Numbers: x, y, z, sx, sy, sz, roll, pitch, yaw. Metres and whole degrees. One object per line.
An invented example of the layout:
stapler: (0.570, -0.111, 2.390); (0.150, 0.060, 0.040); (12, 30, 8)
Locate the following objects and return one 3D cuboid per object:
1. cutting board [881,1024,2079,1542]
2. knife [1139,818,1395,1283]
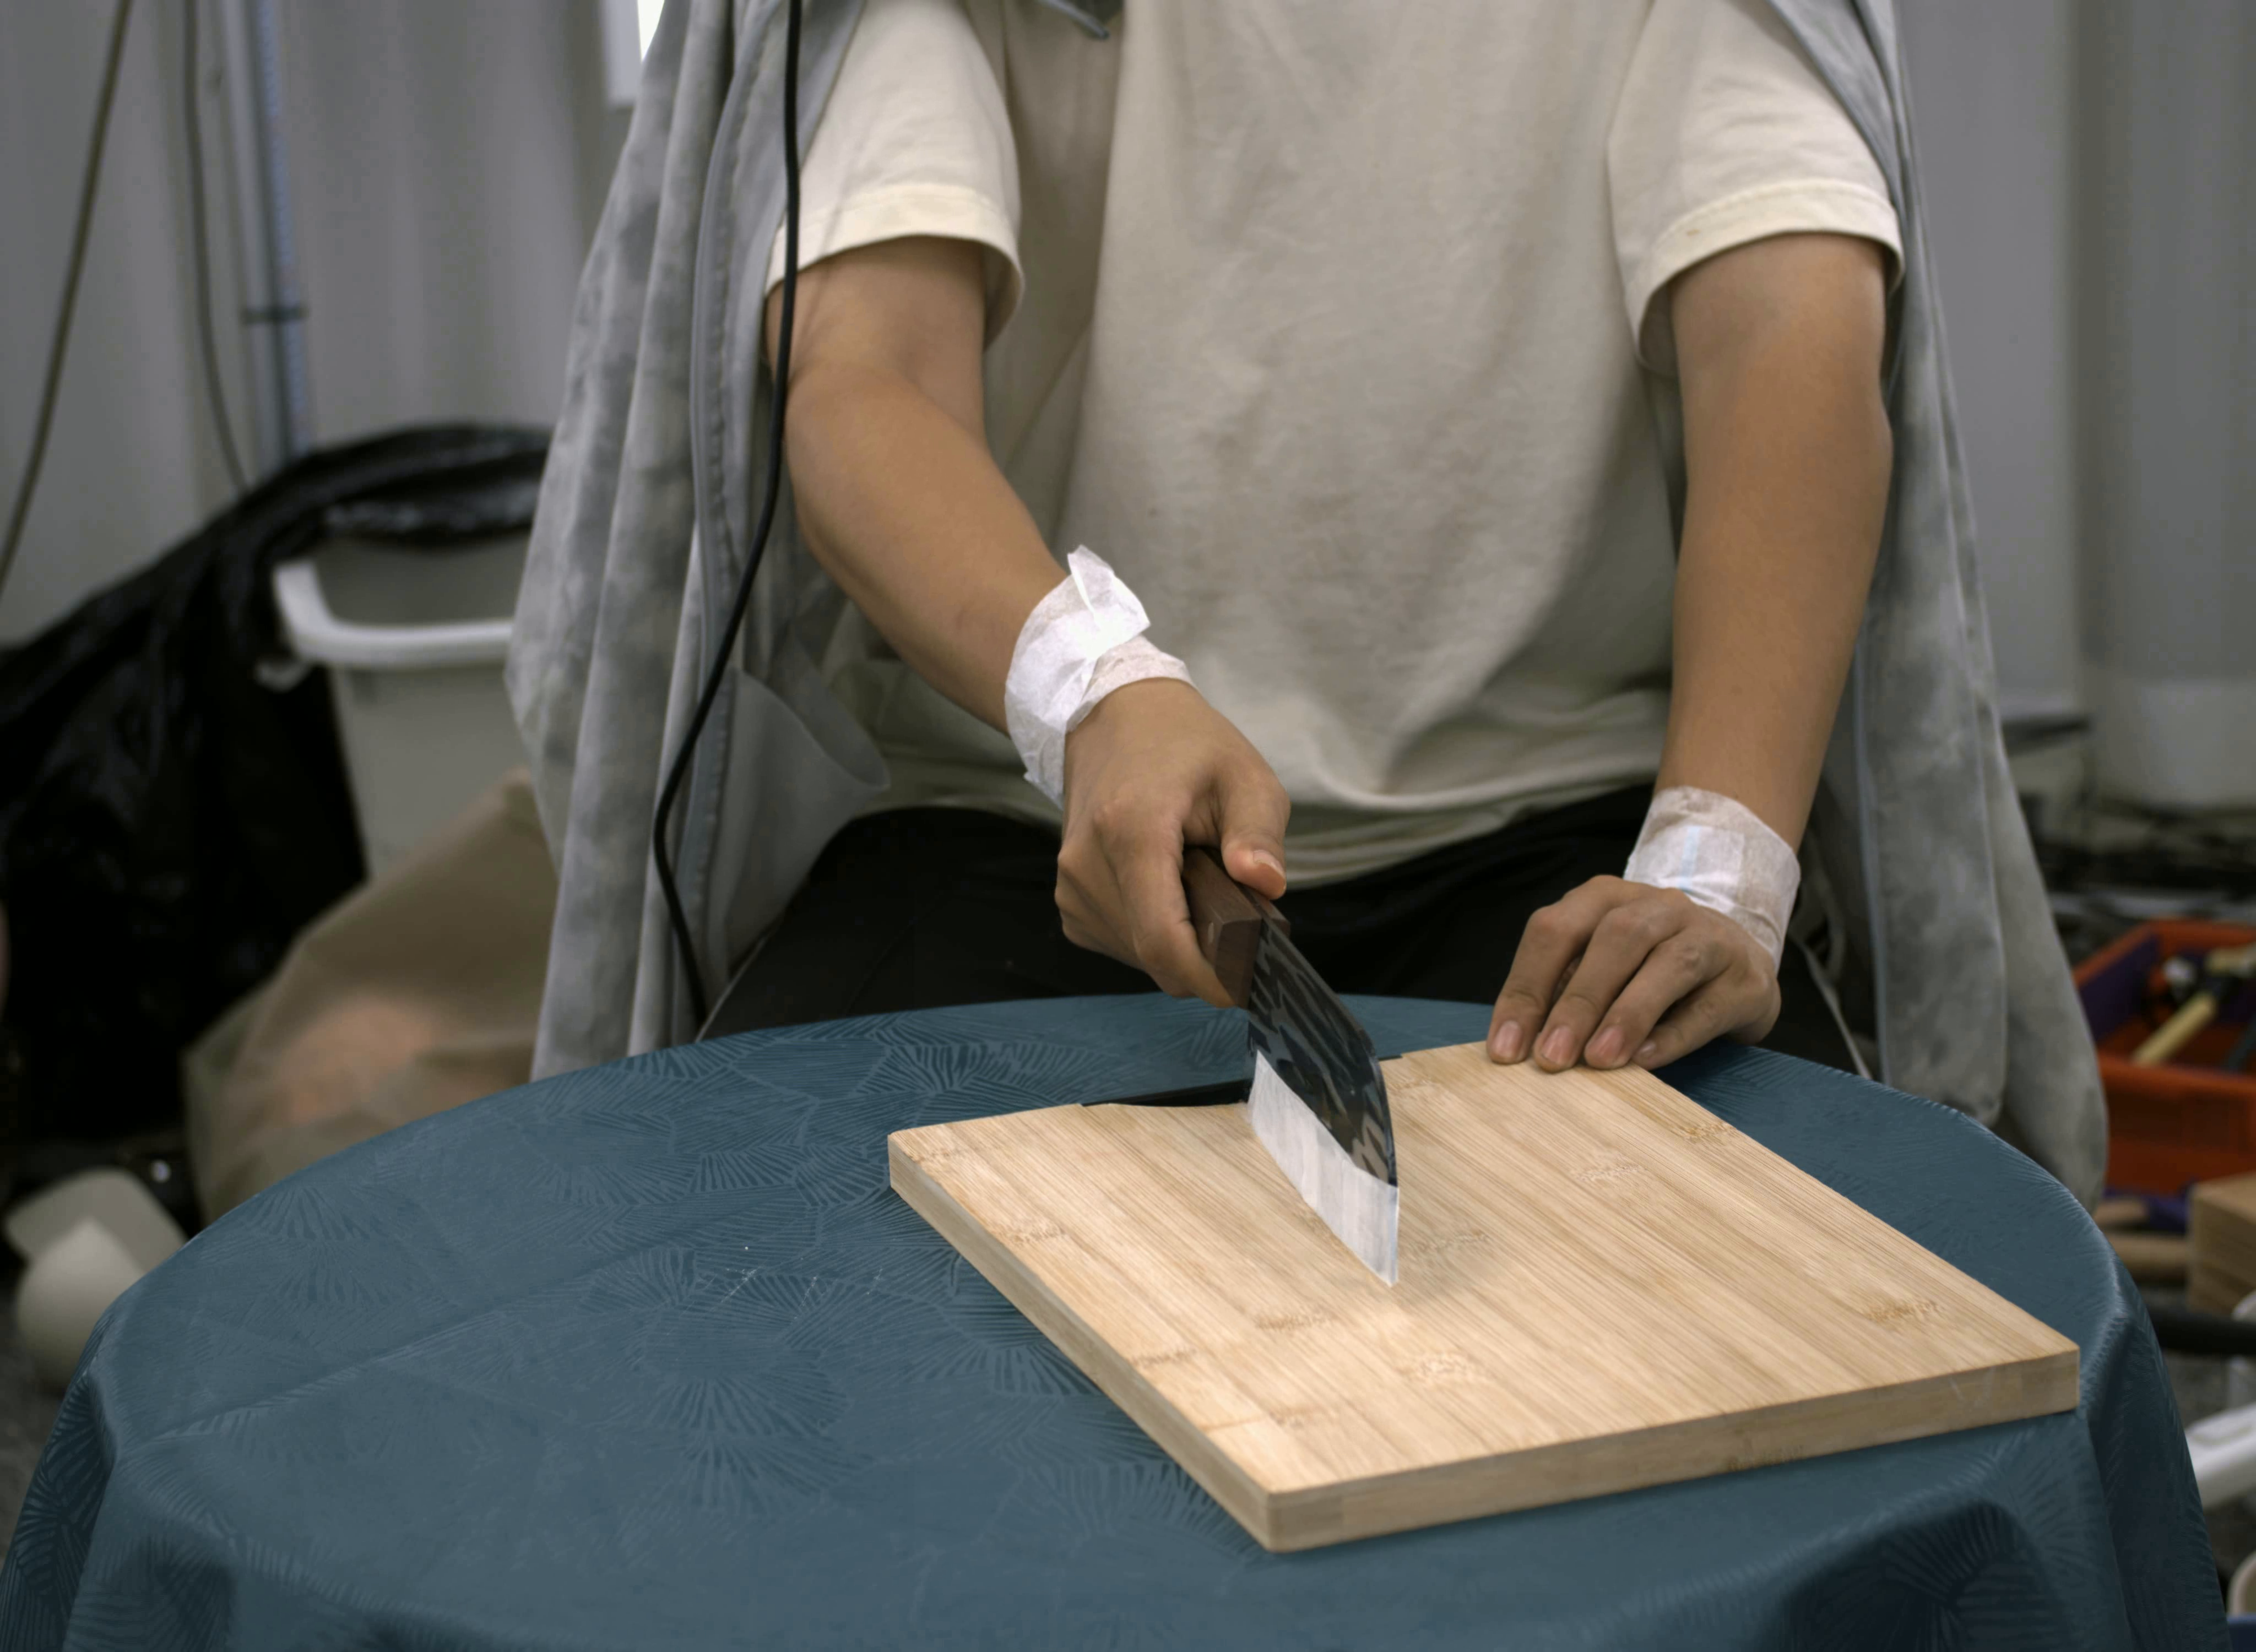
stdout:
cutting board: (0.091, 0.128, 1.620); (0.249, 0.023, 0.351); (-8, 15, -19)
knife: (0.044, 0.065, 1.688); (0.024, 0.068, 0.302); (2, 16, -14)
